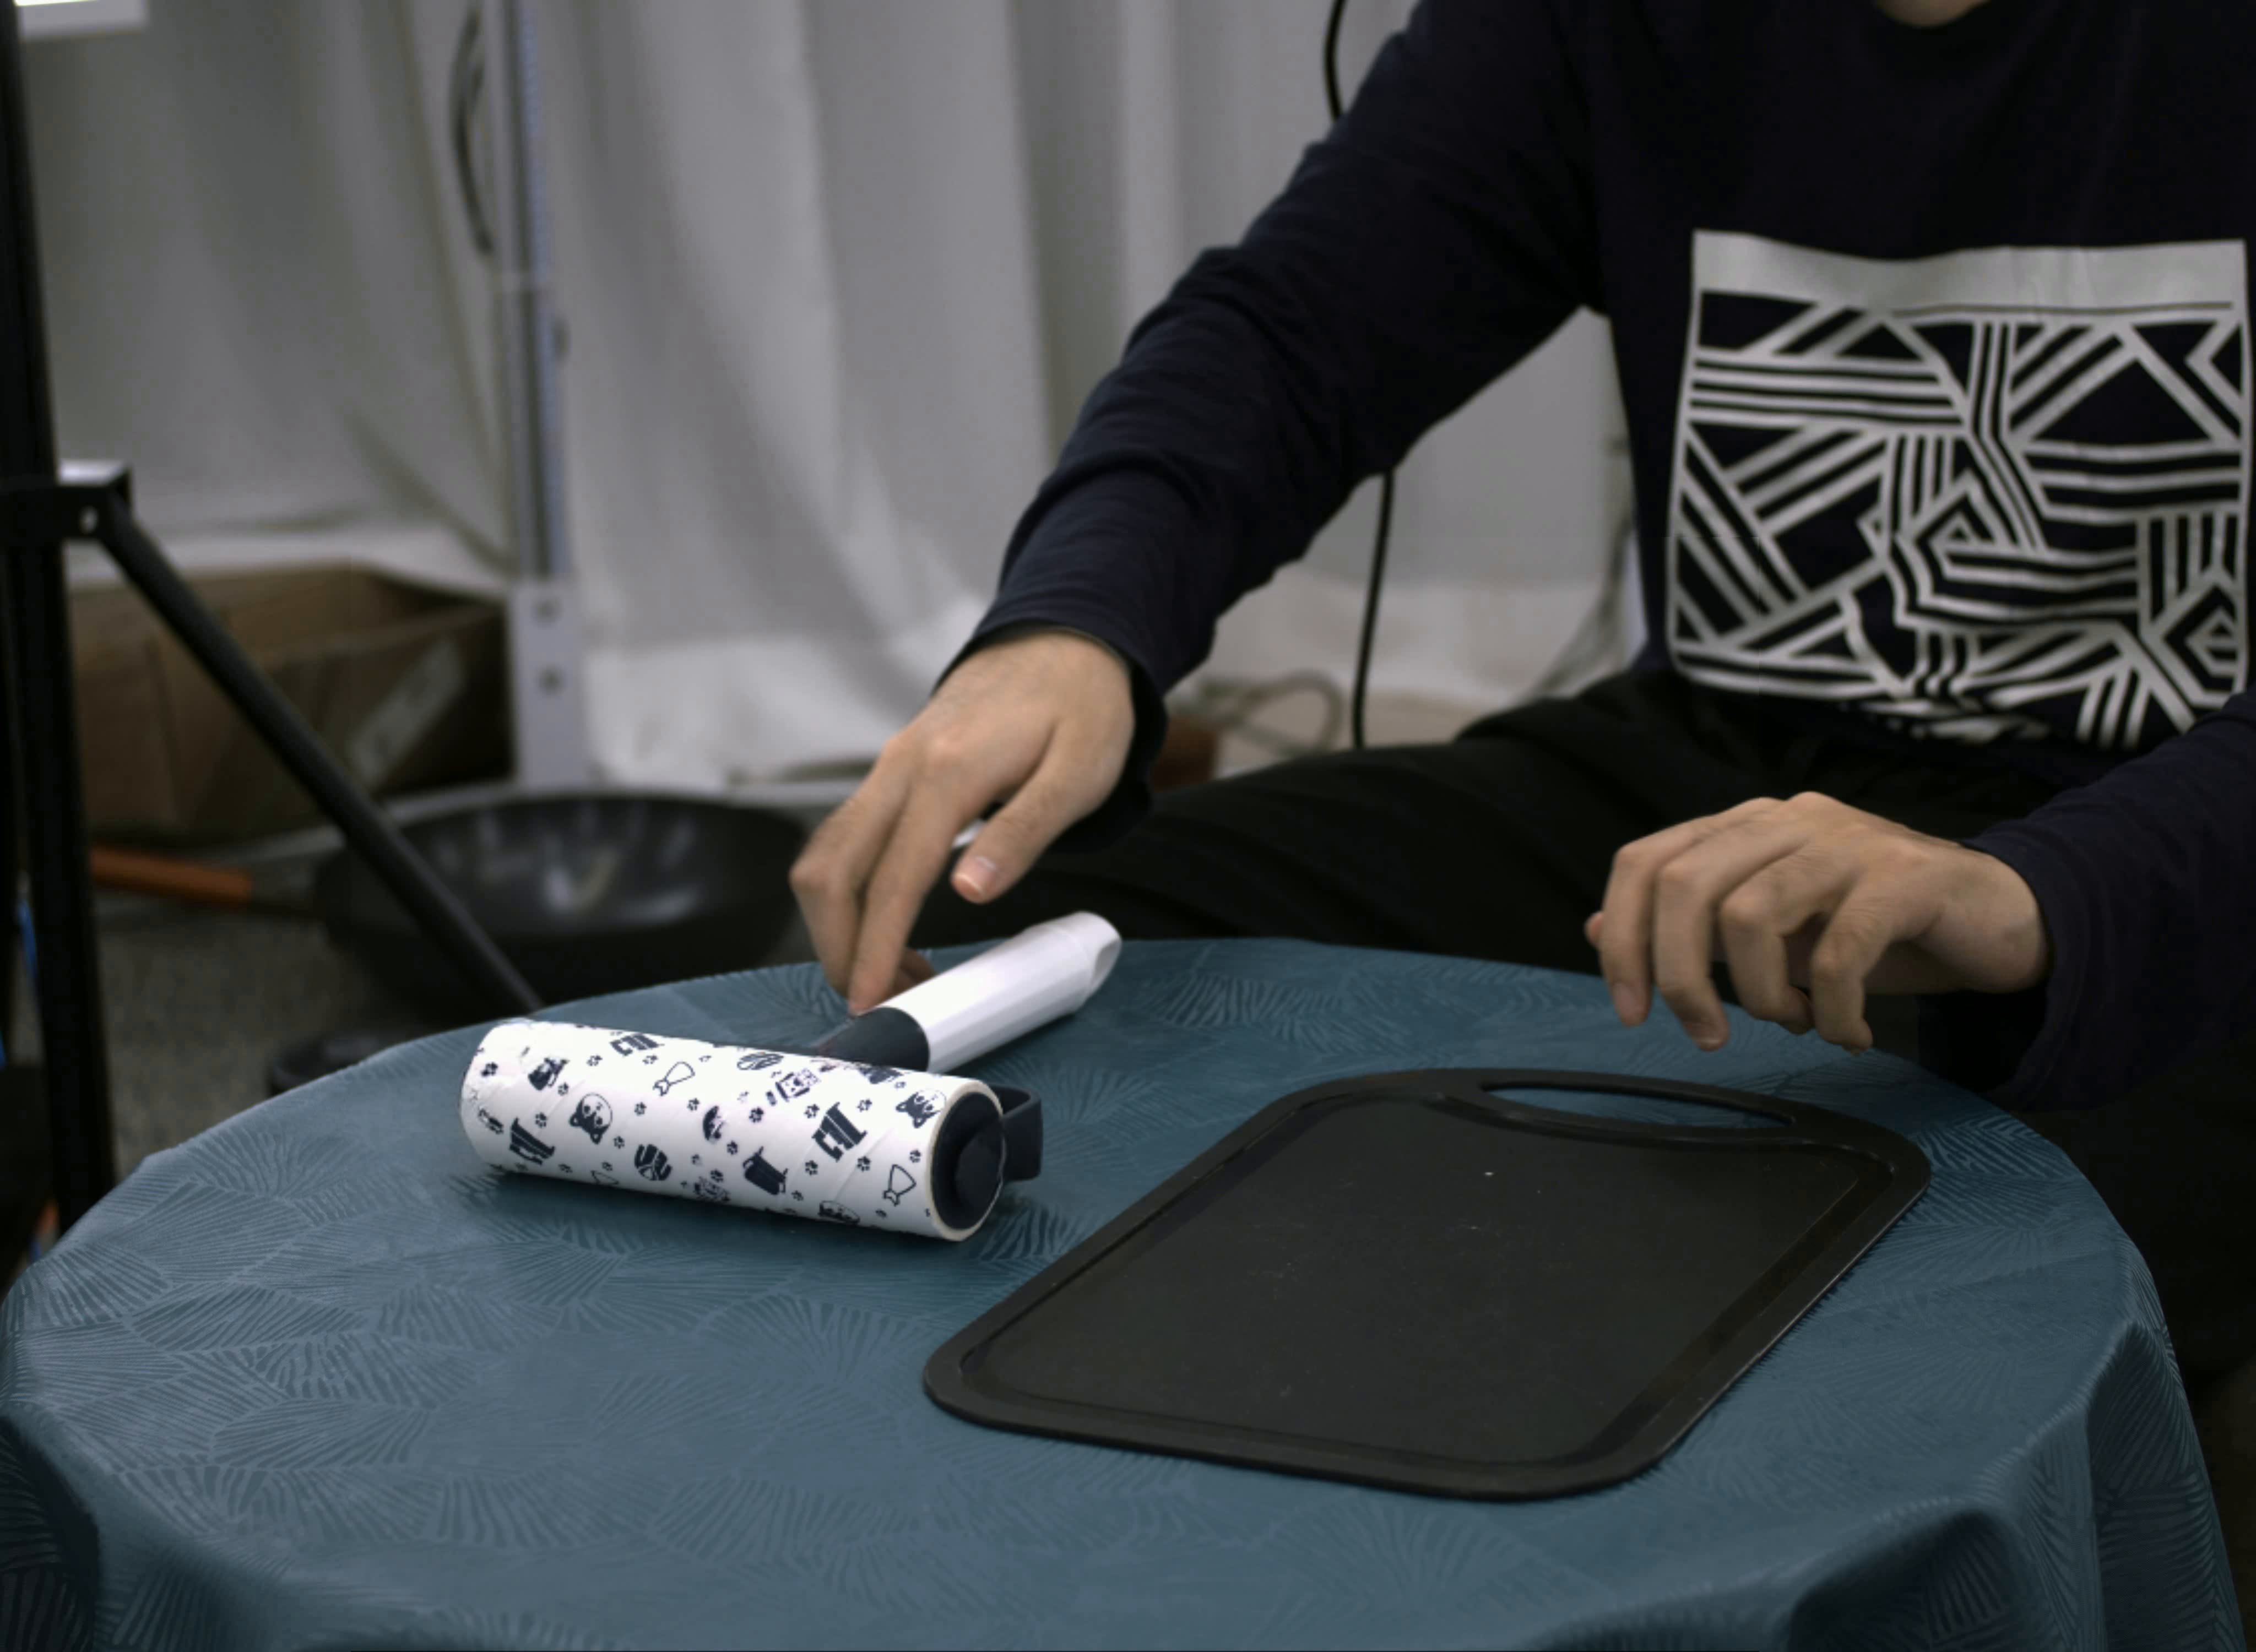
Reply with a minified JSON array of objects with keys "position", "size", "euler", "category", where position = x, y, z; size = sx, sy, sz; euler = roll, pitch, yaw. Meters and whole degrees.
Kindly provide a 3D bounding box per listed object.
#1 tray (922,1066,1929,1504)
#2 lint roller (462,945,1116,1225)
[{"position":[0.093,0.119,1.494],"size":[0.214,0.010,0.320],"euler":[6,18,27],"category":"tray"},{"position":[-0.070,0.066,1.651],"size":[0.179,0.050,0.242],"euler":[5,14,28],"category":"lint roller"}]
